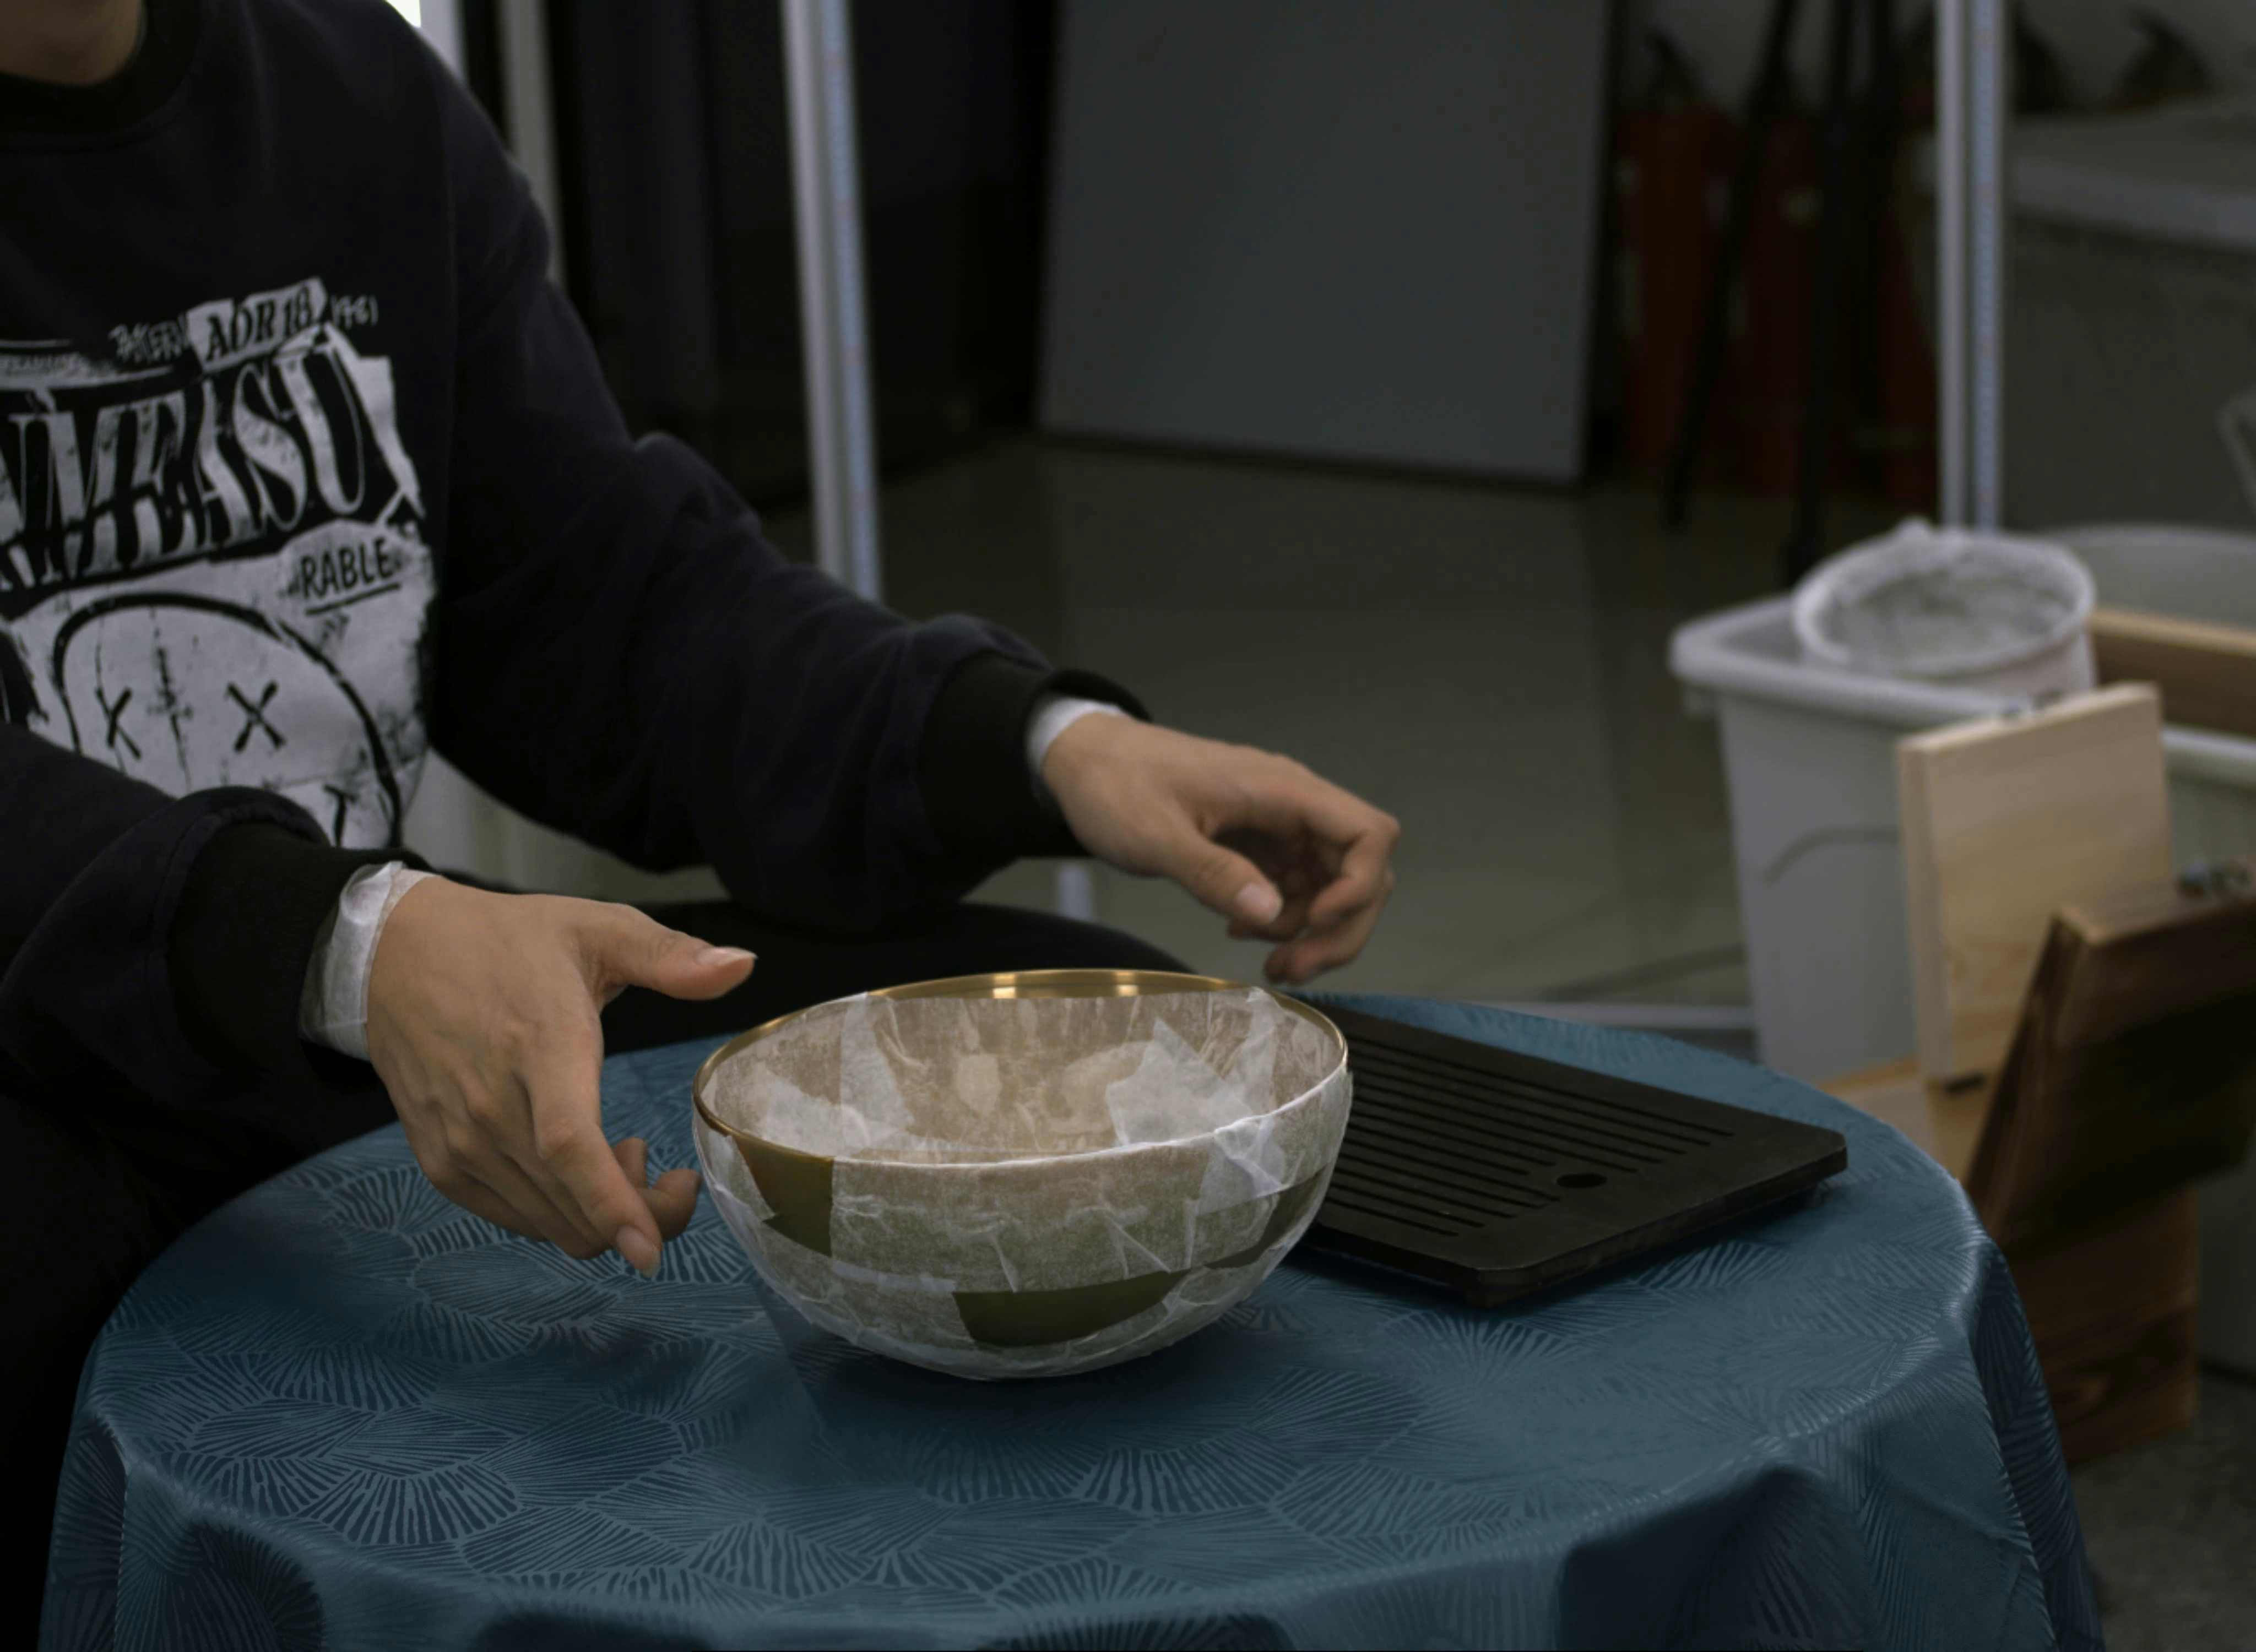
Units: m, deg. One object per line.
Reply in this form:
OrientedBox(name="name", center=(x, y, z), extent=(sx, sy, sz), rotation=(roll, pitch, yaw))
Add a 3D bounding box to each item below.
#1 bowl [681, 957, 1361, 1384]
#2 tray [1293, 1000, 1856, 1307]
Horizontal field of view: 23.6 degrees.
OrientedBox(name="bowl", center=(-0.029, 0.111, 1.627), extent=(0.212, 0.095, 0.215), rotation=(-5, 14, 0))
OrientedBox(name="tray", center=(0.078, 0.104, 1.783), extent=(0.166, 0.019, 0.309), rotation=(-15, 18, -38))
